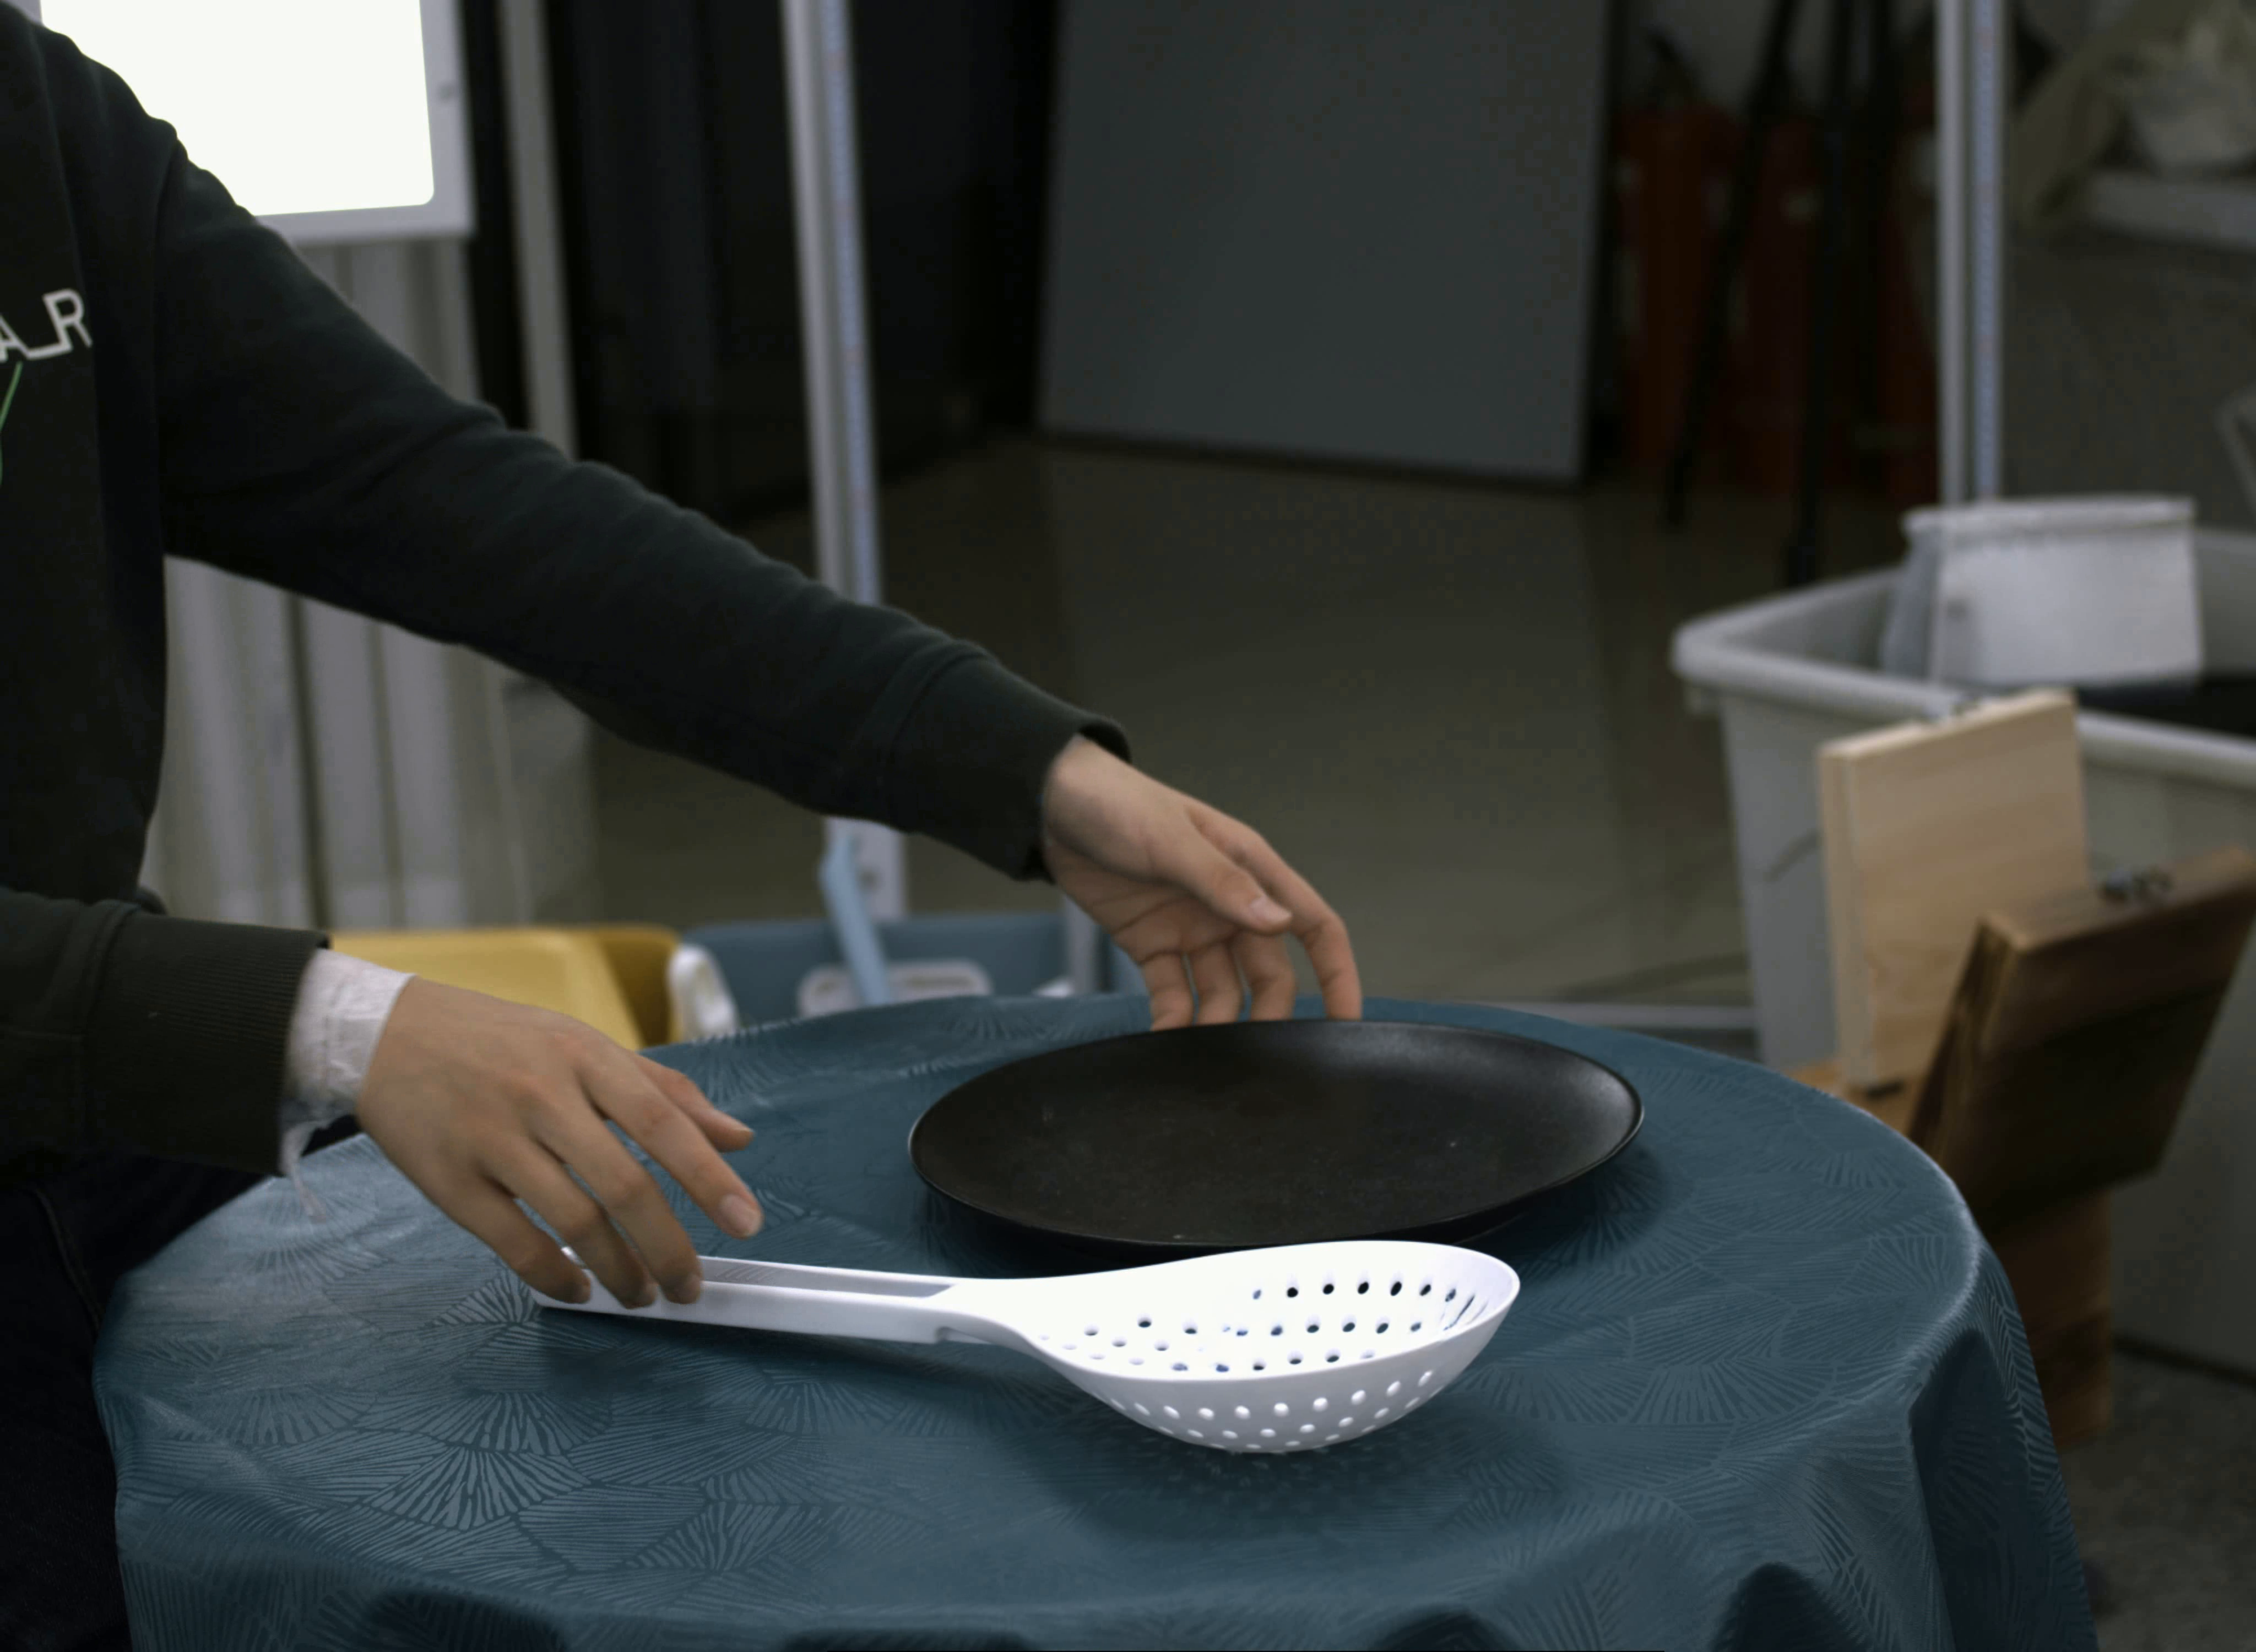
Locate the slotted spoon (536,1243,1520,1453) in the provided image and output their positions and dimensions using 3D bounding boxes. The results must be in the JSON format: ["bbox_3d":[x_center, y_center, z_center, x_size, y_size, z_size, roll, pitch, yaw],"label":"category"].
[{"bbox_3d":[-0.041,0.144,1.596,0.352,0.046,0.133,5,15,37],"label":"slotted spoon"}]

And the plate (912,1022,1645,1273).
[{"bbox_3d":[0.049,0.108,1.763,0.241,0.024,0.245,-4,14,0],"label":"plate"}]
